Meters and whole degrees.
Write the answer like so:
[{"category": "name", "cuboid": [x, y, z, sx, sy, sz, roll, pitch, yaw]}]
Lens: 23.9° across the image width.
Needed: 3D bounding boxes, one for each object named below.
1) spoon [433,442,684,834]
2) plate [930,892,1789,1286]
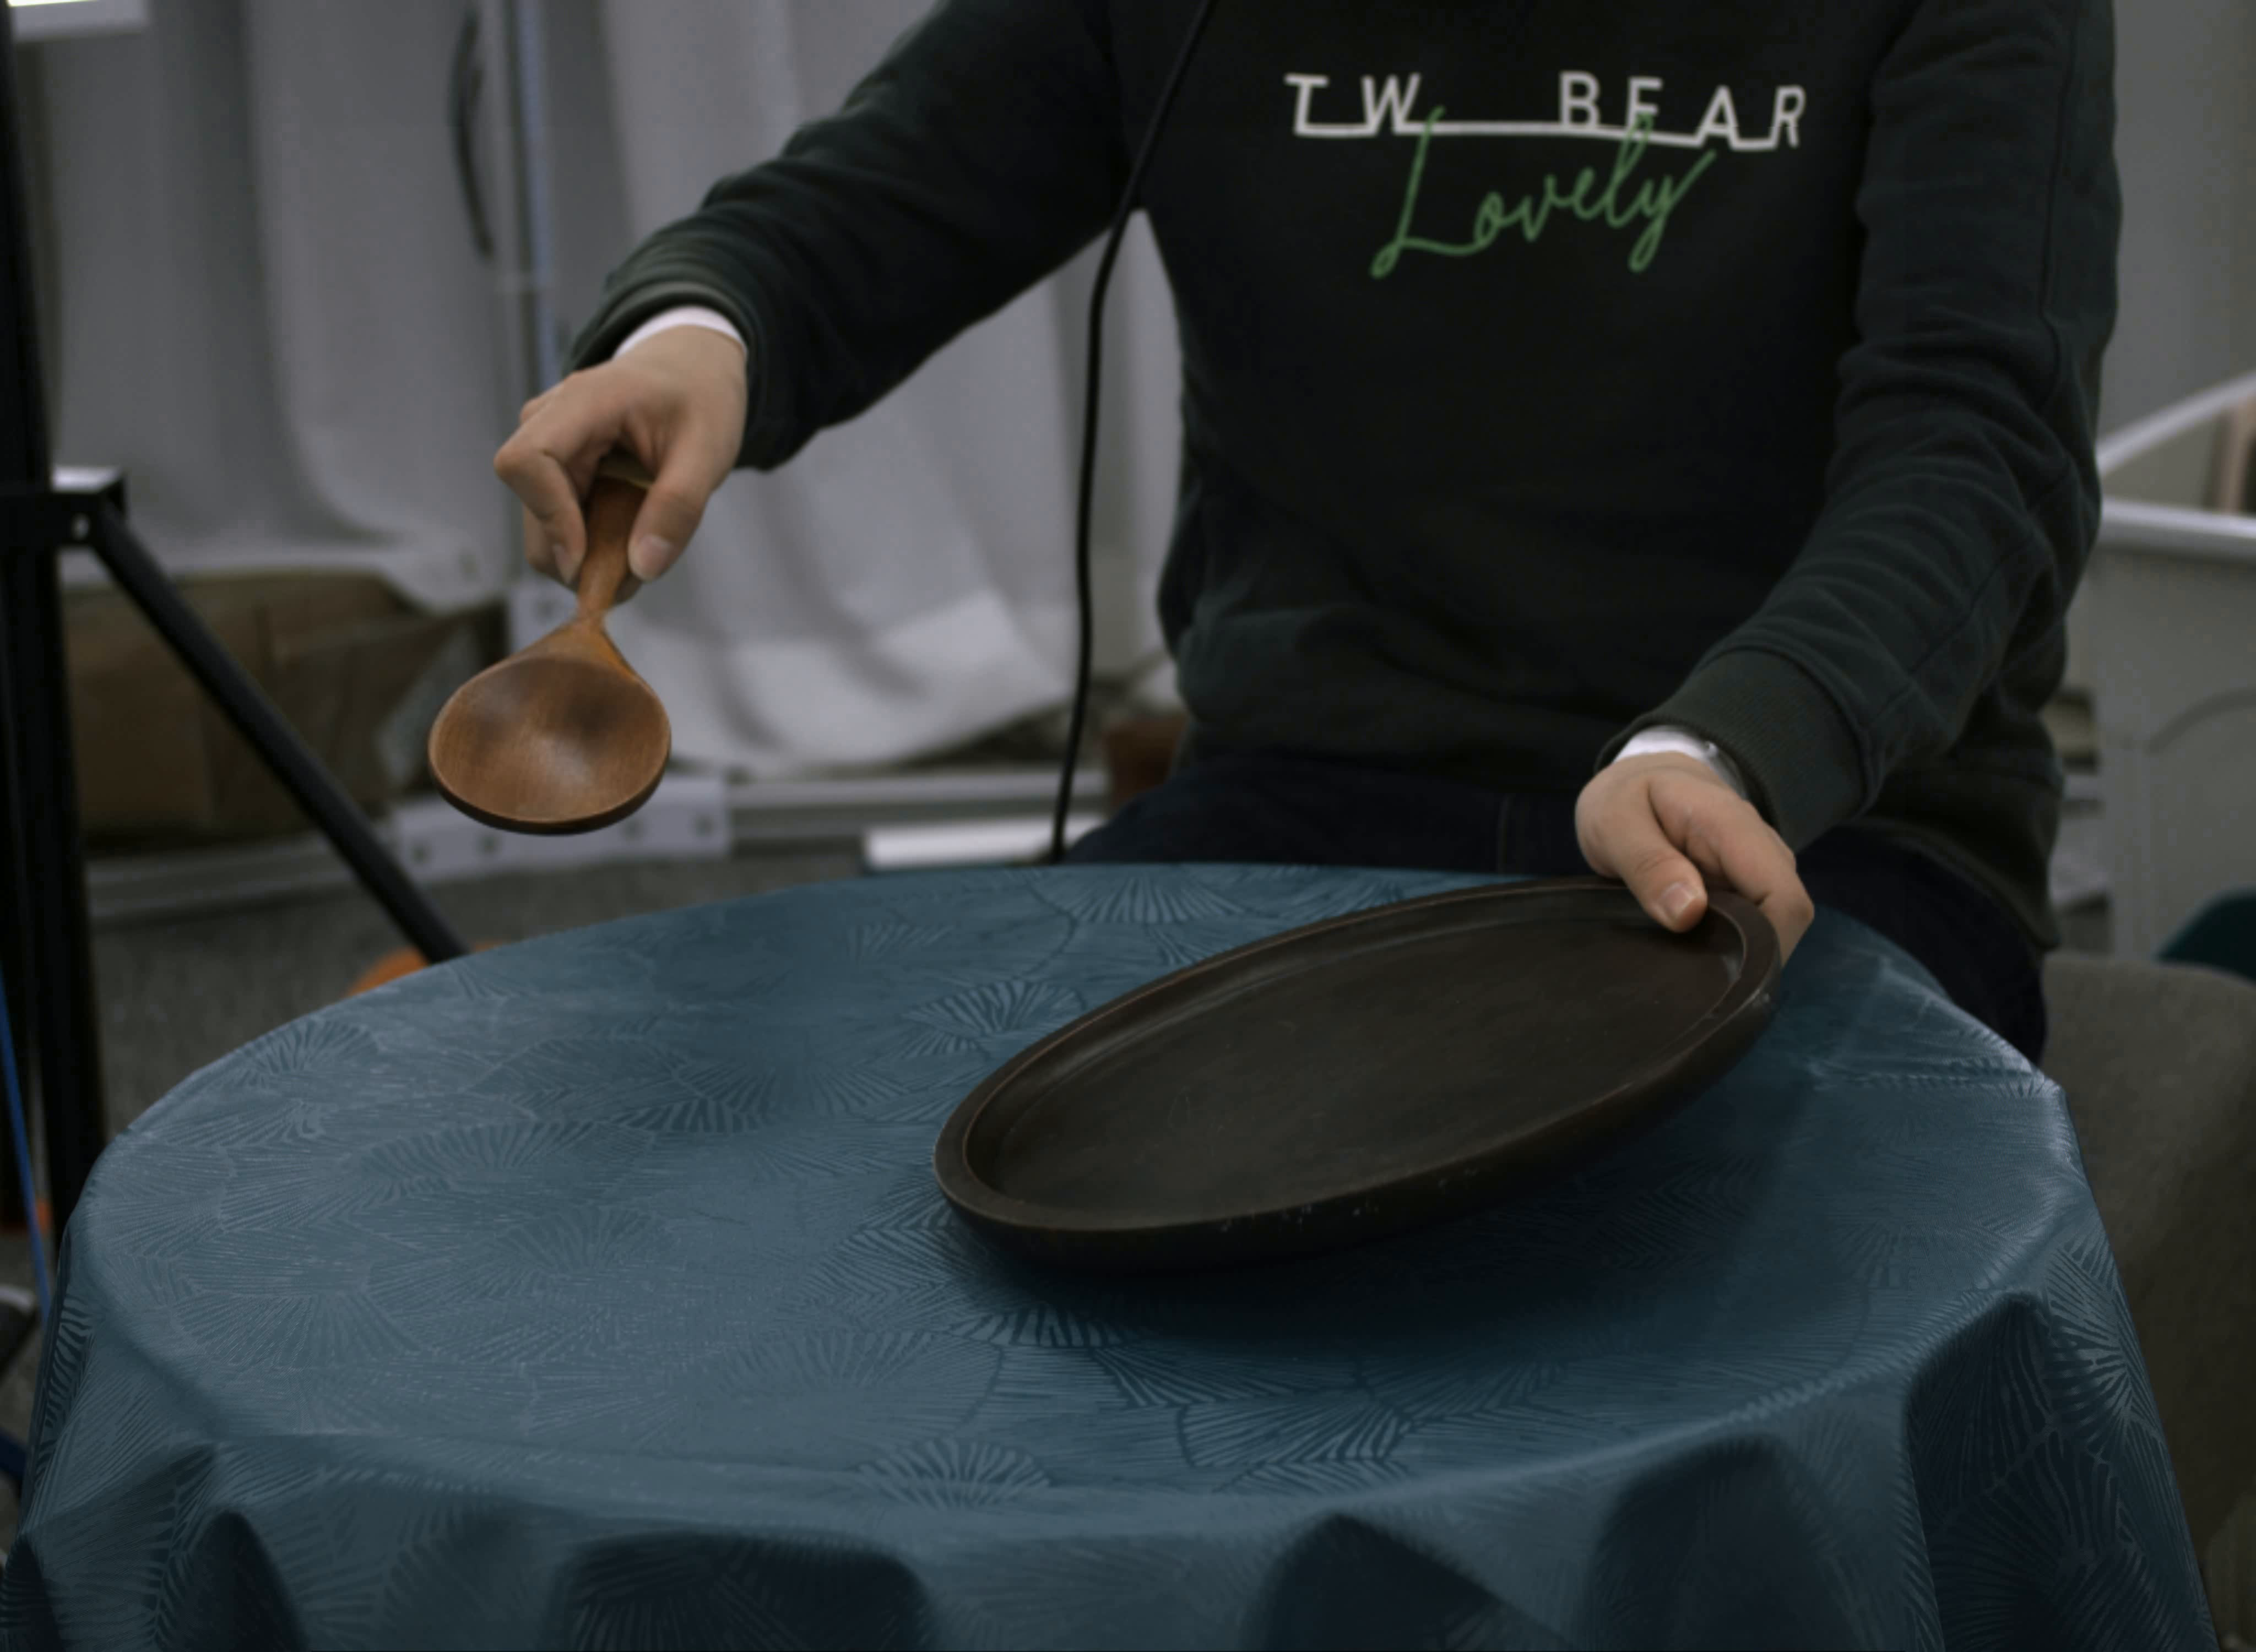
[{"category": "spoon", "cuboid": [-0.168, -0.059, 1.678, 0.075, 0.017, 0.217, 4, 36, 3]}, {"category": "plate", "cuboid": [0.067, 0.073, 1.526, 0.254, 0.029, 0.256, -15, 17, 3]}]
